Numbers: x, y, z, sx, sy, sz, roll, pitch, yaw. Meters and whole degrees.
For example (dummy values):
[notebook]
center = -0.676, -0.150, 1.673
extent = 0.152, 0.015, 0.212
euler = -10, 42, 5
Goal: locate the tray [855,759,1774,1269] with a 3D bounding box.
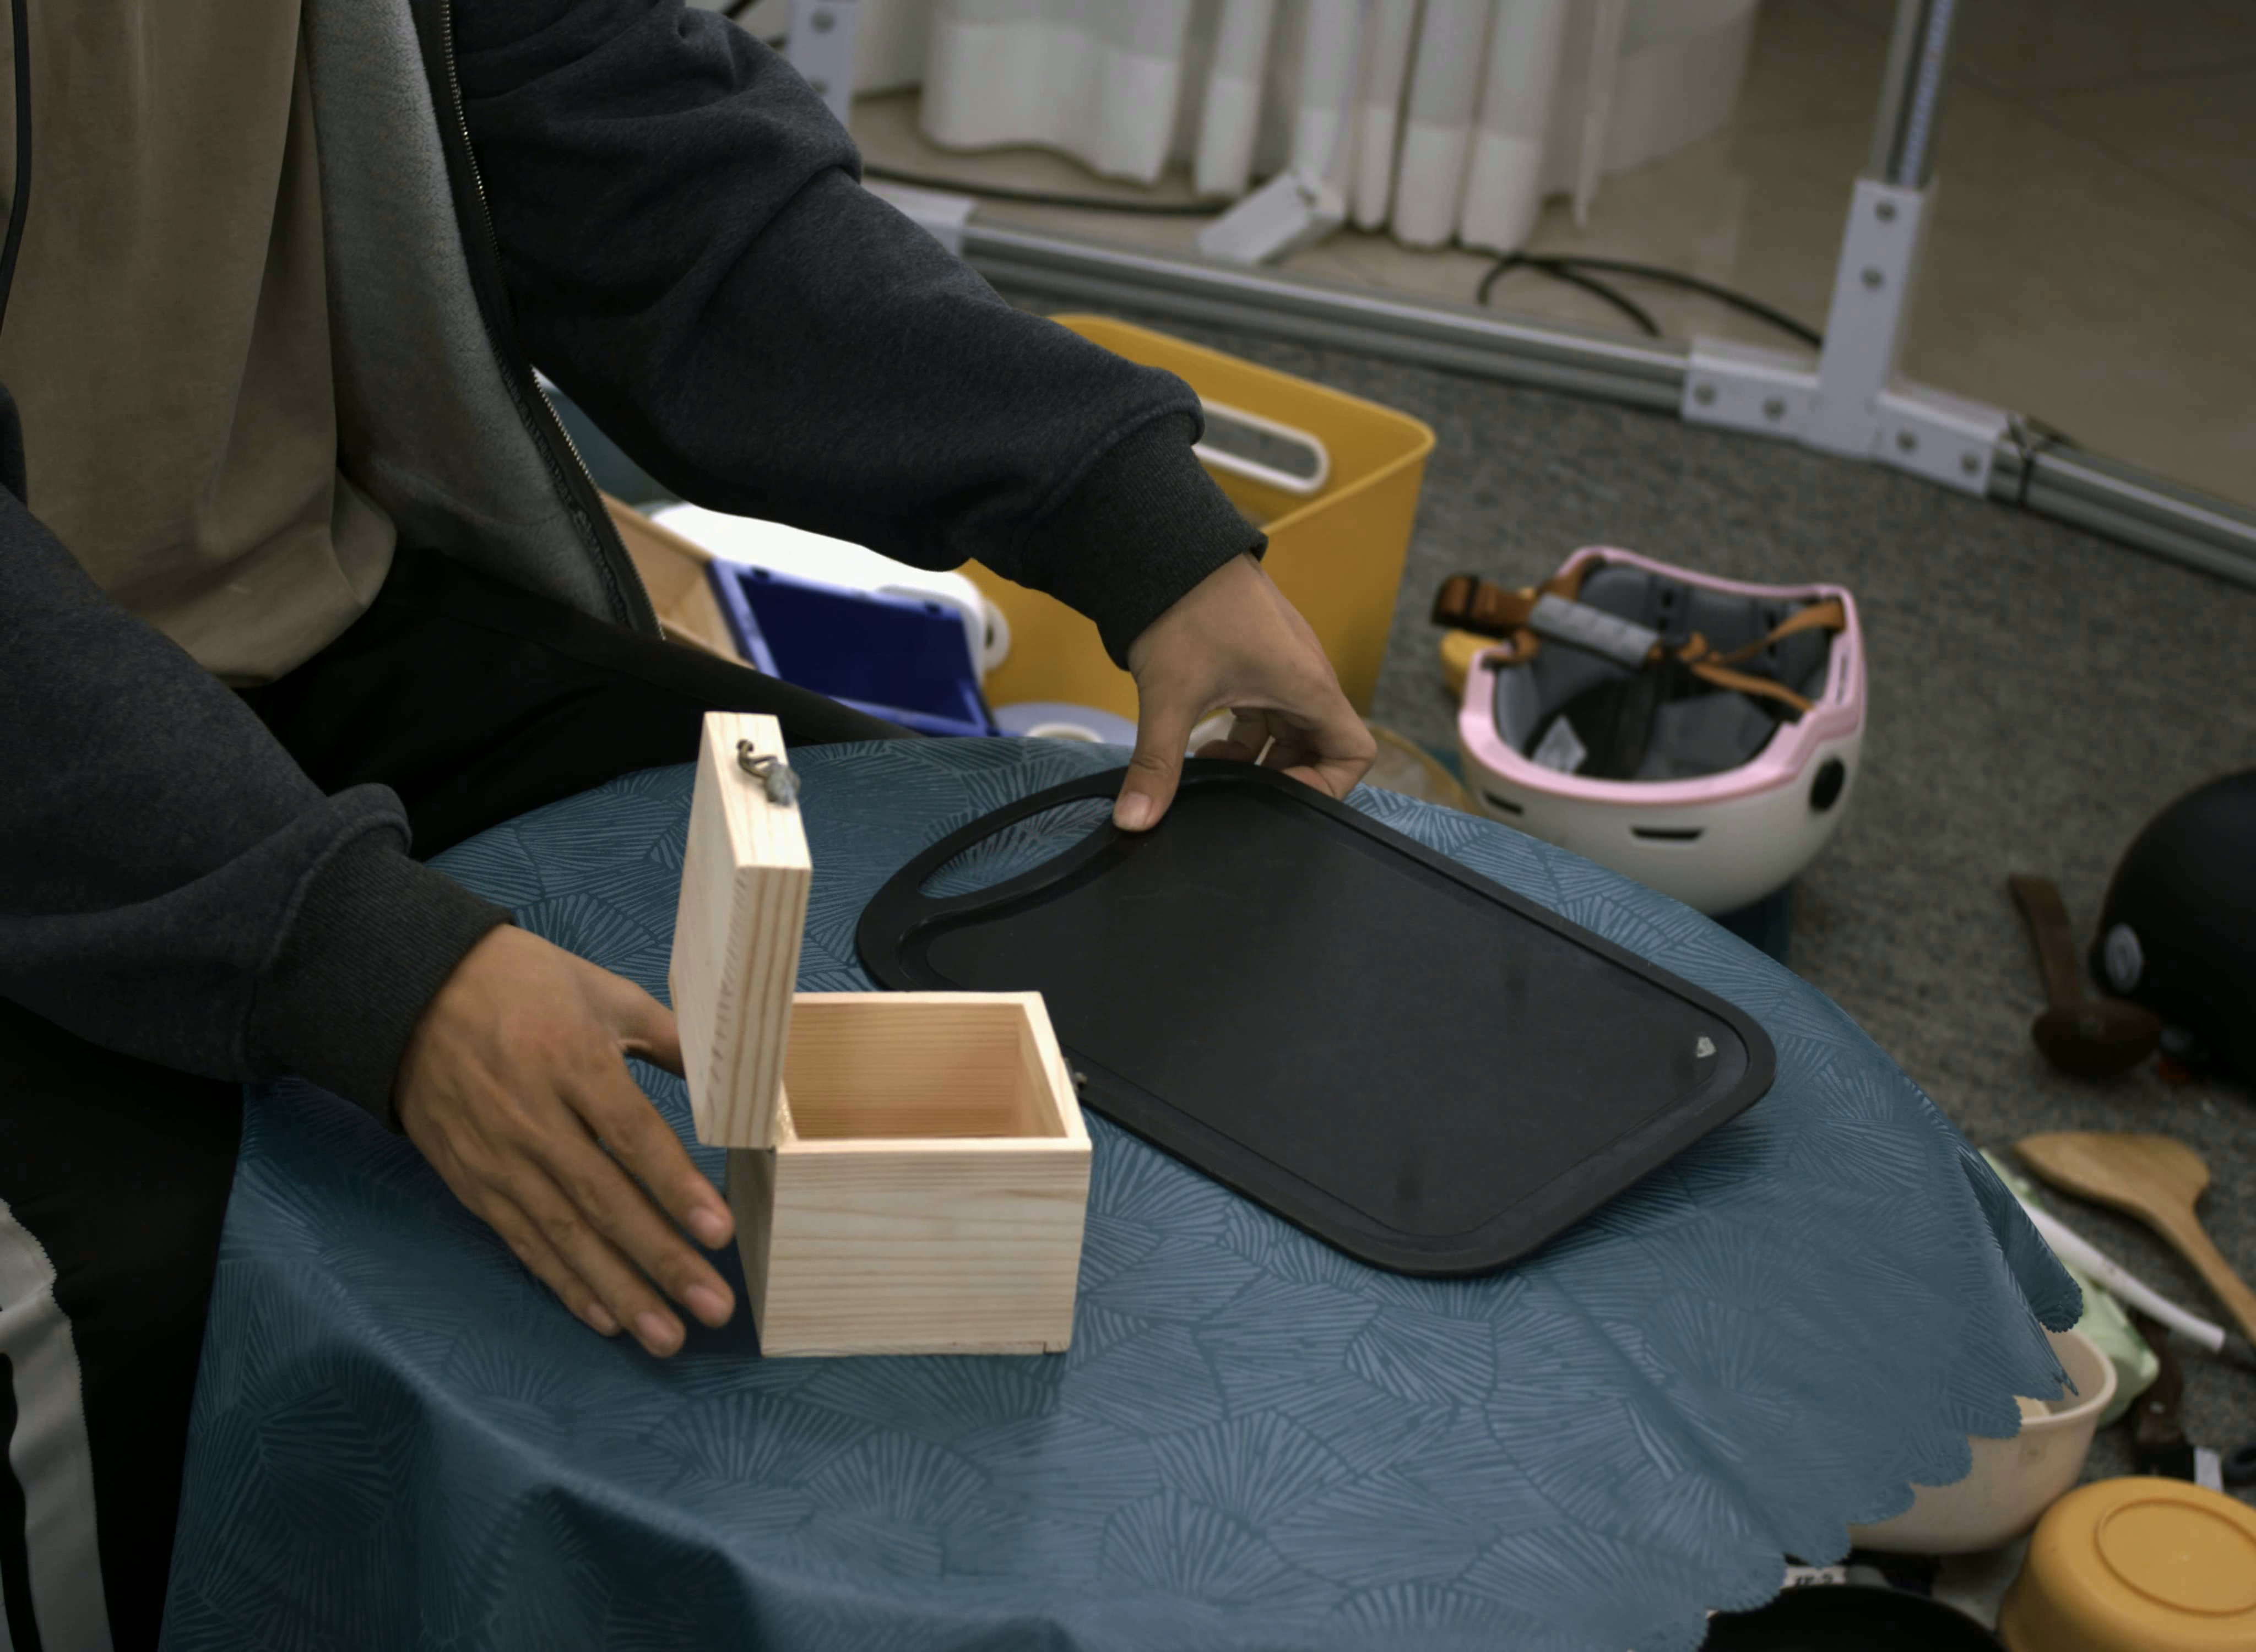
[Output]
[tray]
center = 0.058, 0.058, 1.911
extent = 0.328, 0.010, 0.210
euler = 28, 41, 36

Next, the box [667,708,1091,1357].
[box]
center = -0.077, 0.065, 1.696
extent = 0.133, 0.184, 0.103
euler = 0, 28, -12
